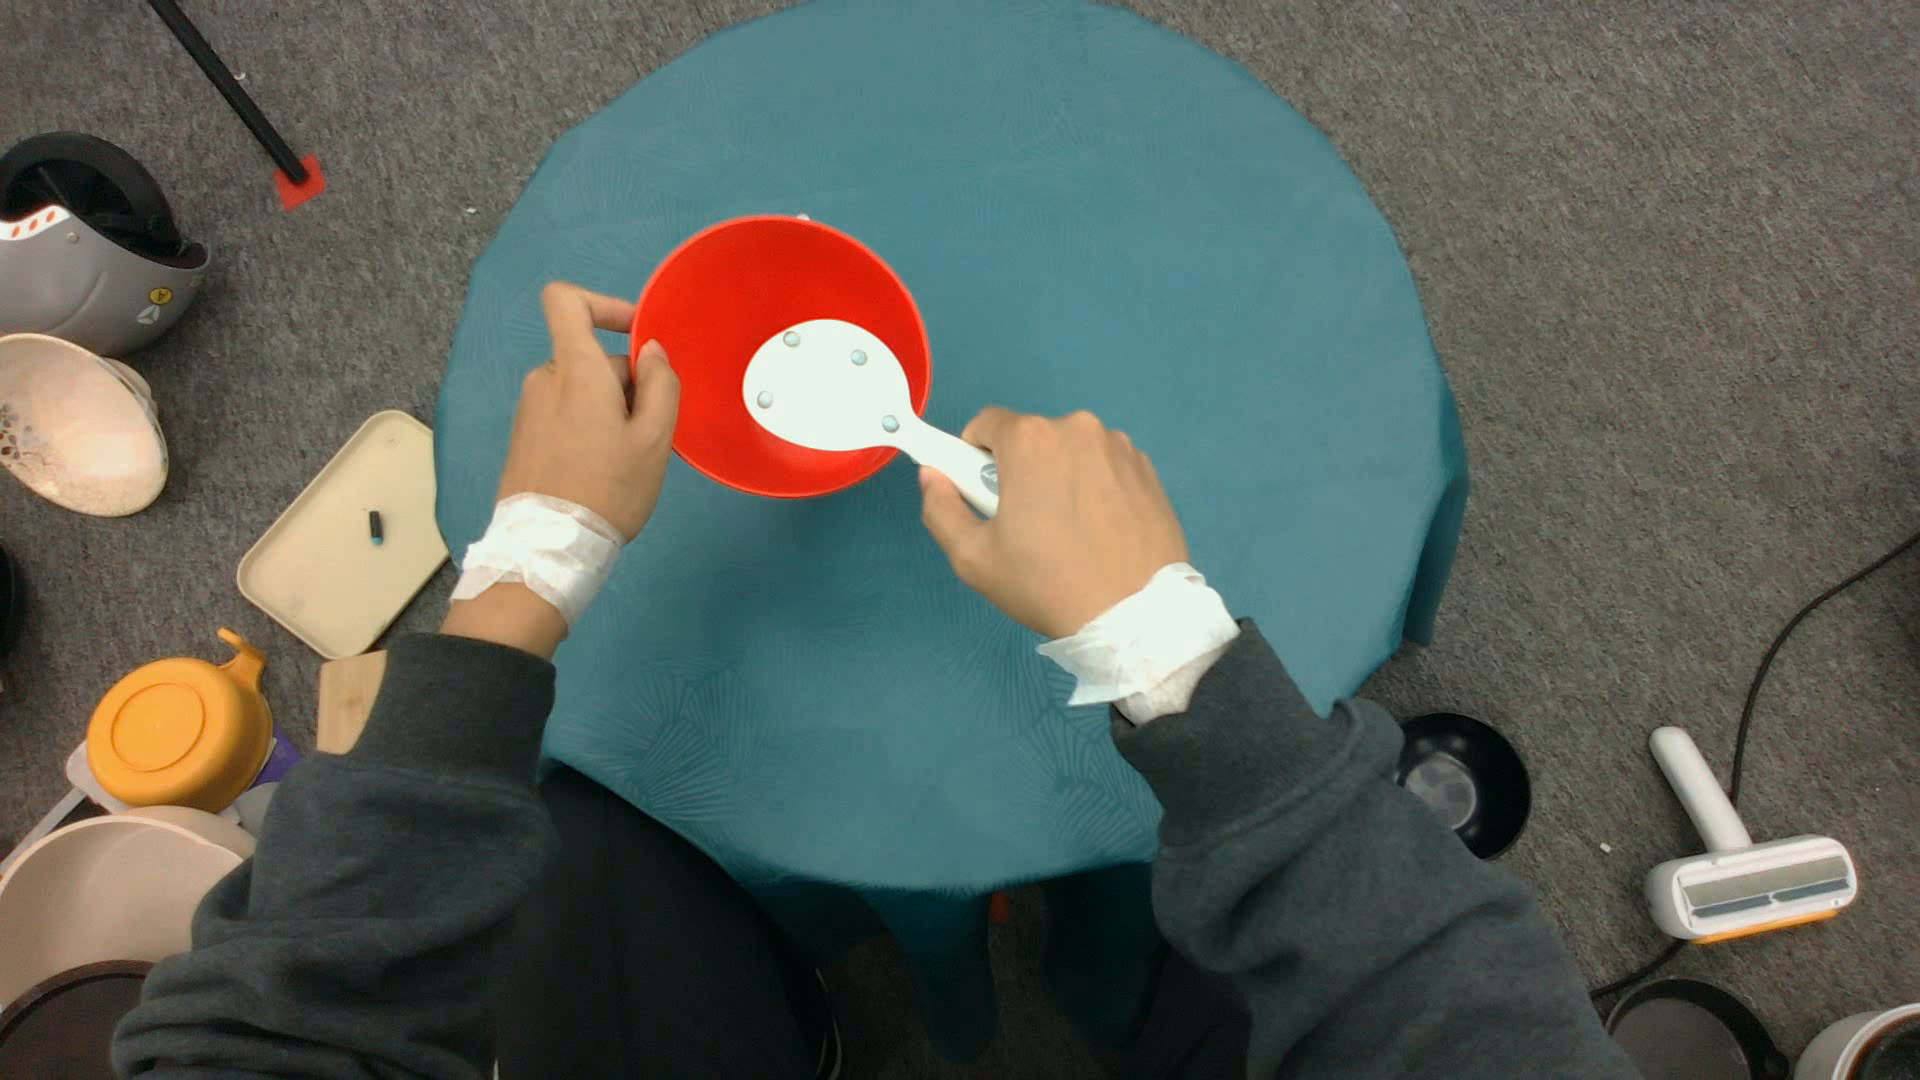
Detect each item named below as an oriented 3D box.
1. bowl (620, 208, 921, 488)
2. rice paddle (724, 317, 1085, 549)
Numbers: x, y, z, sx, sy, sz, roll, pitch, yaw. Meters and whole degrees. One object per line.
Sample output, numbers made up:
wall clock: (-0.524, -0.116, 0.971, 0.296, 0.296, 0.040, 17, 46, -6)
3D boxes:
bowl: (-0.095, -0.088, 0.724, 0.148, 0.104, 0.148, 1, 75, -4)
rice paddle: (-0.033, -0.054, 0.634, 0.205, 0.029, 0.069, 30, 71, 30)
